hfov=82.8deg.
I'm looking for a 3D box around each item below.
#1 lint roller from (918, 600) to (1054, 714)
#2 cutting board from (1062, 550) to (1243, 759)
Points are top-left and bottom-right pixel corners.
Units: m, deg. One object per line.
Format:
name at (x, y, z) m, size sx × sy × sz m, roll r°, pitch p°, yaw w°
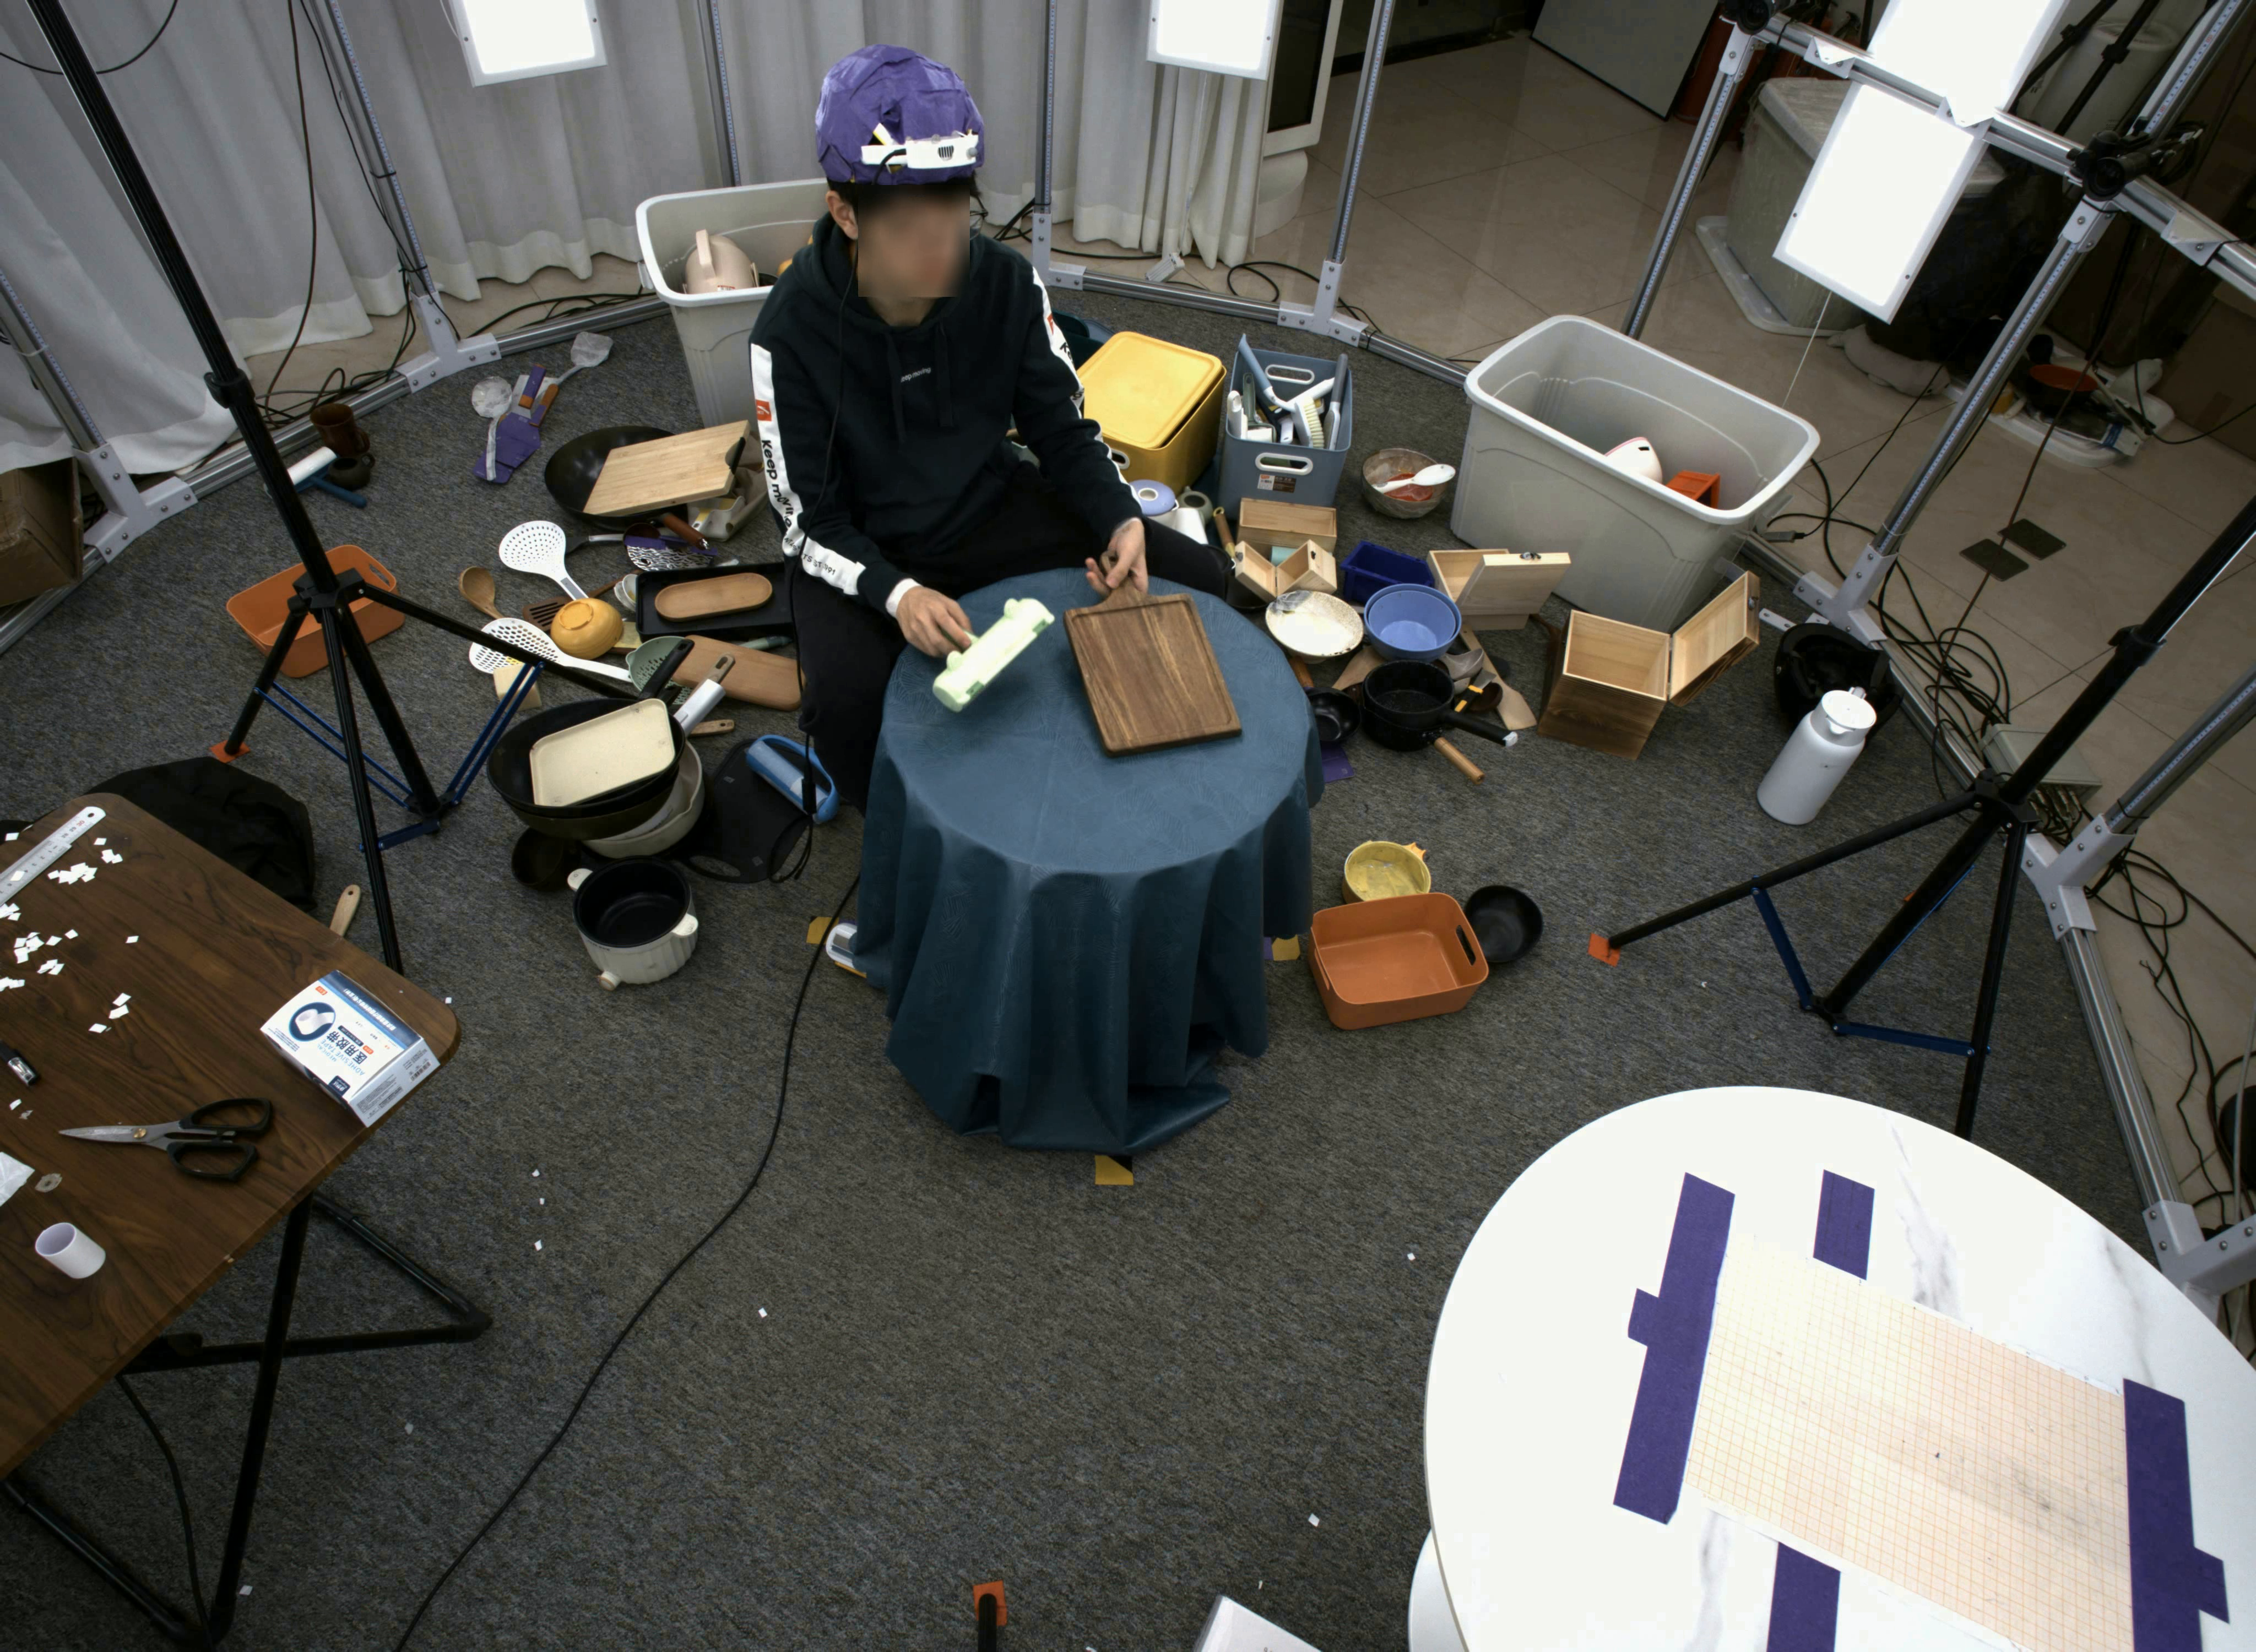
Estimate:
lint roller at (-0.229, -0.265, 1.782) m, size 0.186 × 0.080 × 0.201 m, roll 32°, pitch 64°, yaw 25°
cutting board at (0.018, -0.261, 1.846) m, size 0.201 × 0.023 × 0.360 m, roll -11°, pitch 59°, yaw -13°
